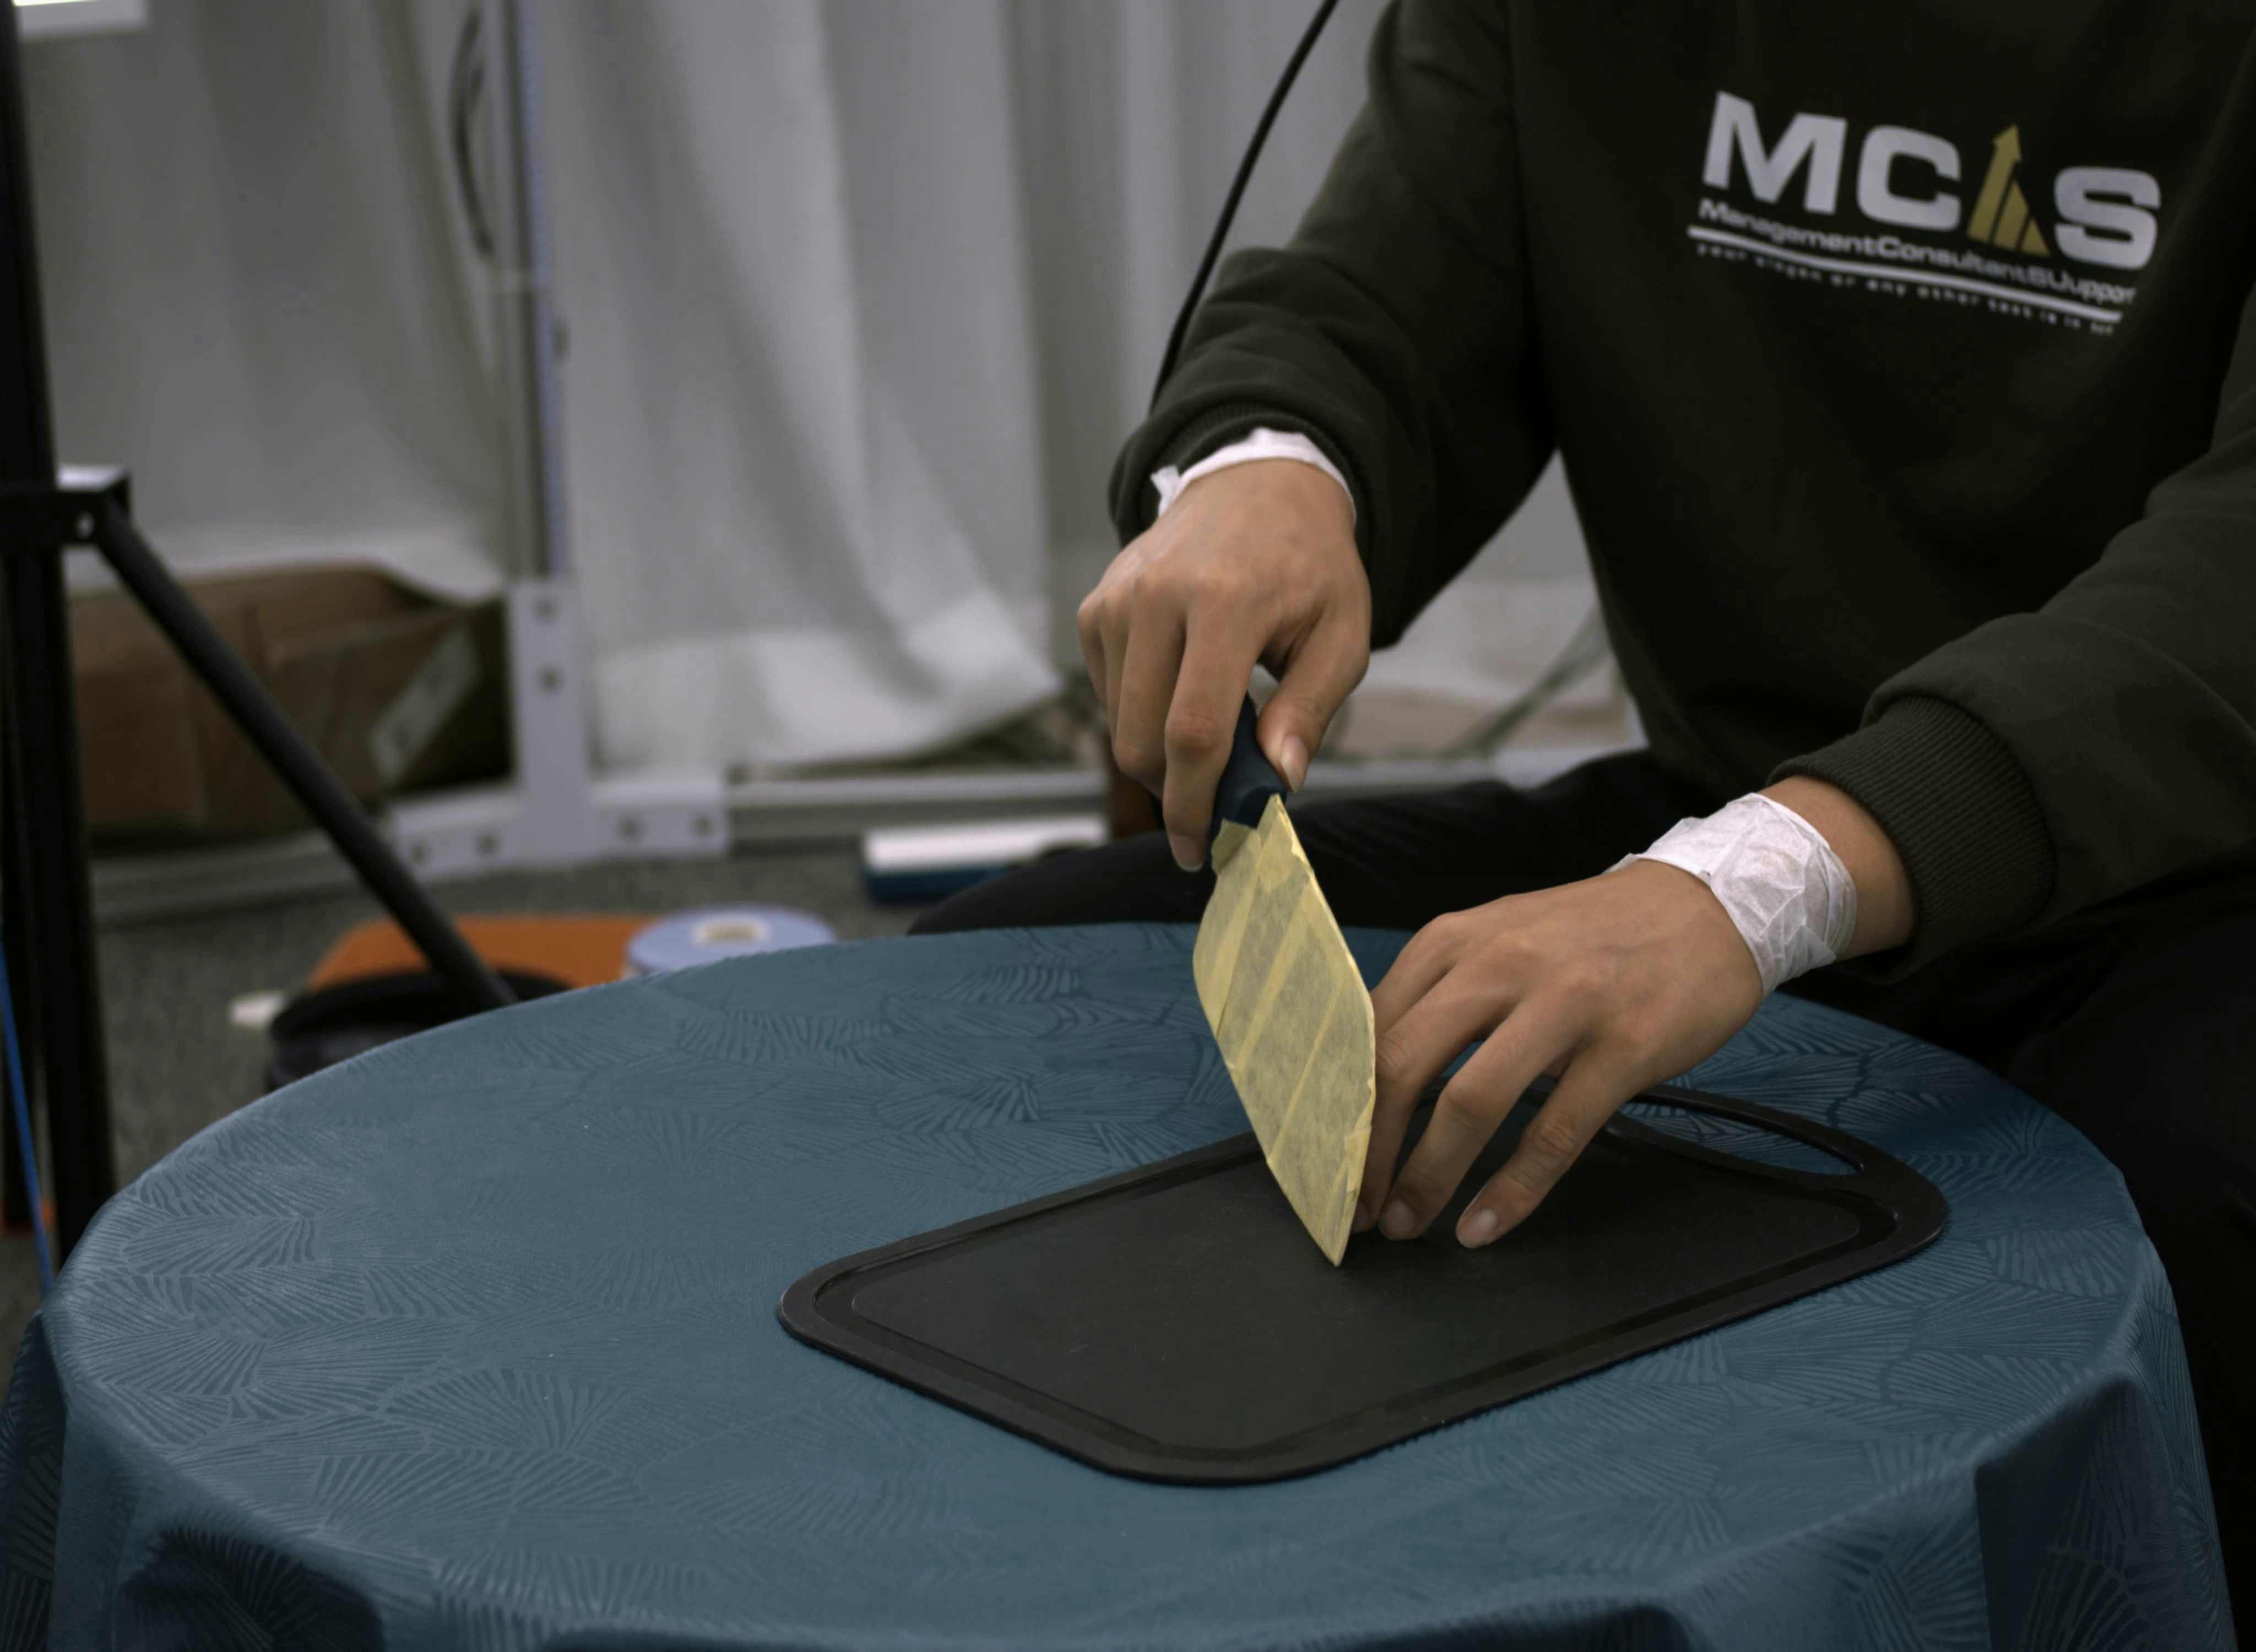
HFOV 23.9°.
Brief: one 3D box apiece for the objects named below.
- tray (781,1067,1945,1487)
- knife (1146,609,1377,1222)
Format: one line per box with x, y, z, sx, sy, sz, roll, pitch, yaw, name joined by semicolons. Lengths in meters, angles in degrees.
0.075;0.118;1.499;0.318;0.010;0.216;-15;20;-36;tray
0.037;0.023;1.600;0.027;0.081;0.294;14;30;-20;knife
